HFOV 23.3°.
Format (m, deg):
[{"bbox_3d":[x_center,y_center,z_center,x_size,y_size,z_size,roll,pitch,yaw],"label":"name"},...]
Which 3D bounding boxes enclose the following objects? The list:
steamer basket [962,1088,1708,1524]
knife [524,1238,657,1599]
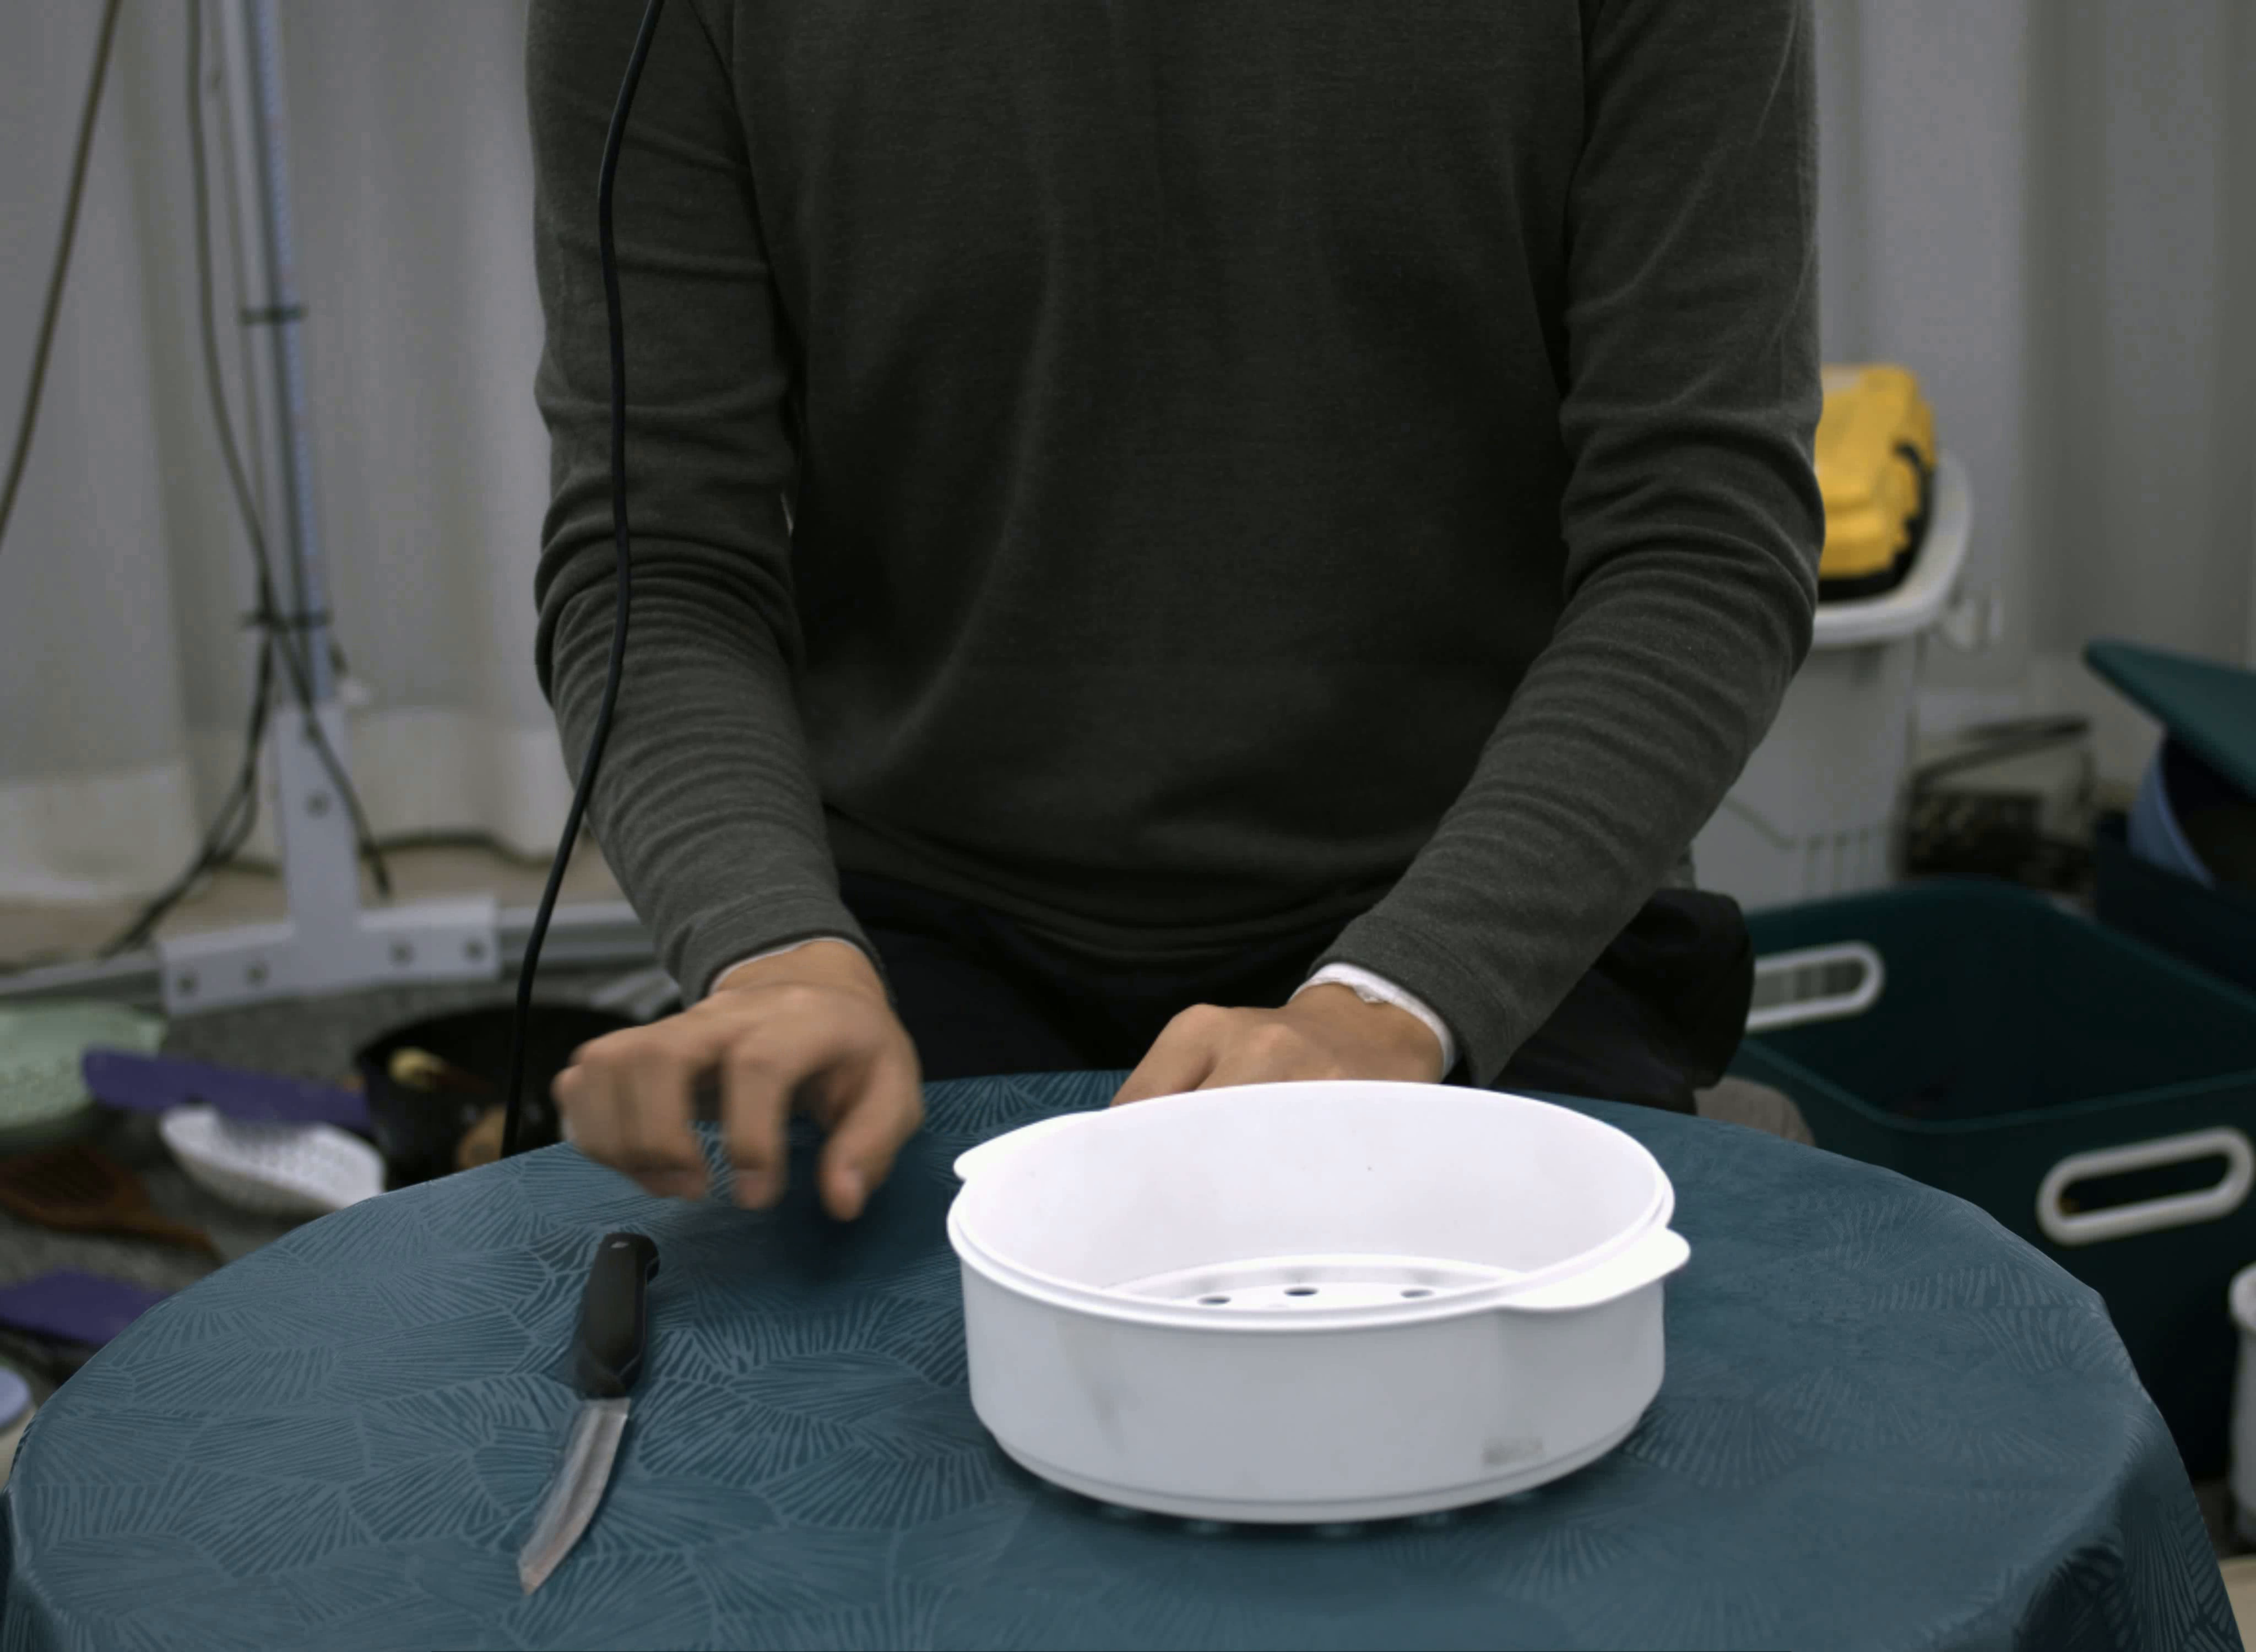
[{"bbox_3d":[0.056,0.132,1.510,0.231,0.069,0.201,9,18,41],"label":"steamer basket"},{"bbox_3d":[-0.153,0.165,1.533,0.024,0.016,0.240,-5,17,2],"label":"knife"}]
